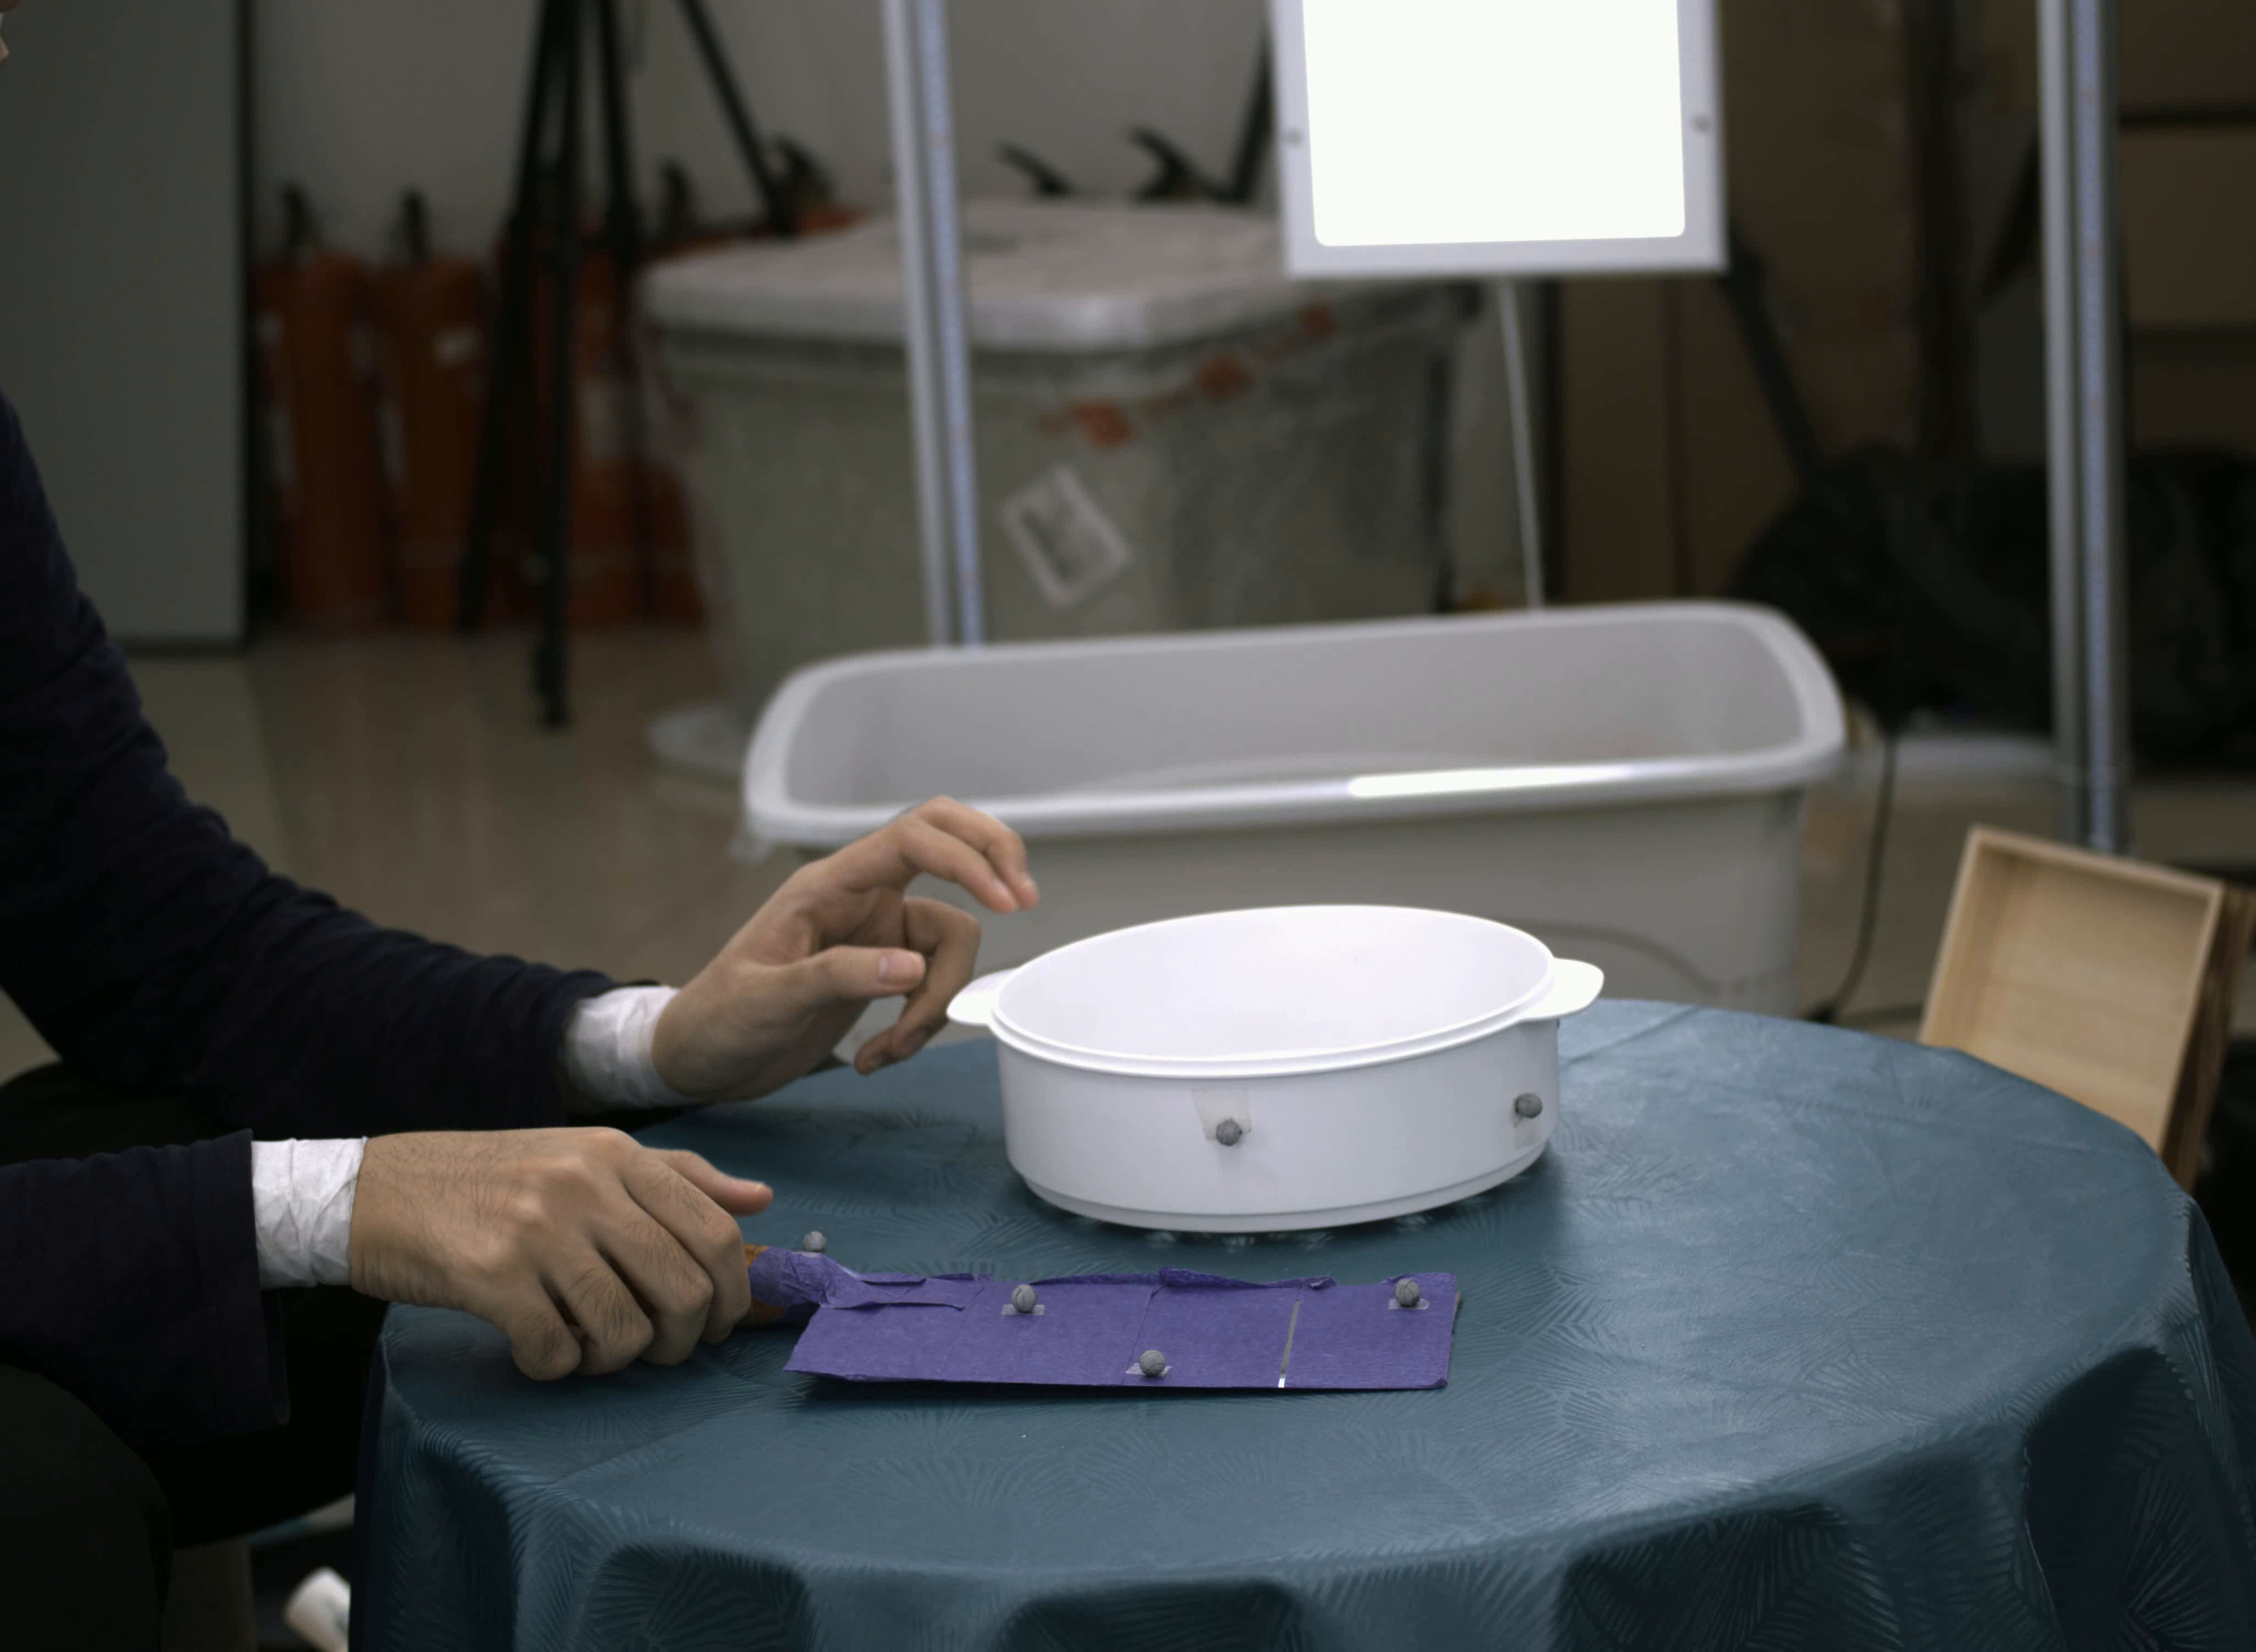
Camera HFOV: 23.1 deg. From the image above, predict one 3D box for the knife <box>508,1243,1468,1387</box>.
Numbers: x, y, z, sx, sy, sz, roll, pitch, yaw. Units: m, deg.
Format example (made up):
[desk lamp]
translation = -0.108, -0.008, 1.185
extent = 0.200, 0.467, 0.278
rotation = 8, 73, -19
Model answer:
[knife]
translation = -0.050, 0.155, 1.750
extent = 0.317, 0.032, 0.103
rotation = -2, 14, 10

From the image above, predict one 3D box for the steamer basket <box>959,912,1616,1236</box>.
[steamer basket]
translation = 0.058, 0.086, 1.911
extent = 0.233, 0.069, 0.199
rotation = -4, 12, 16
